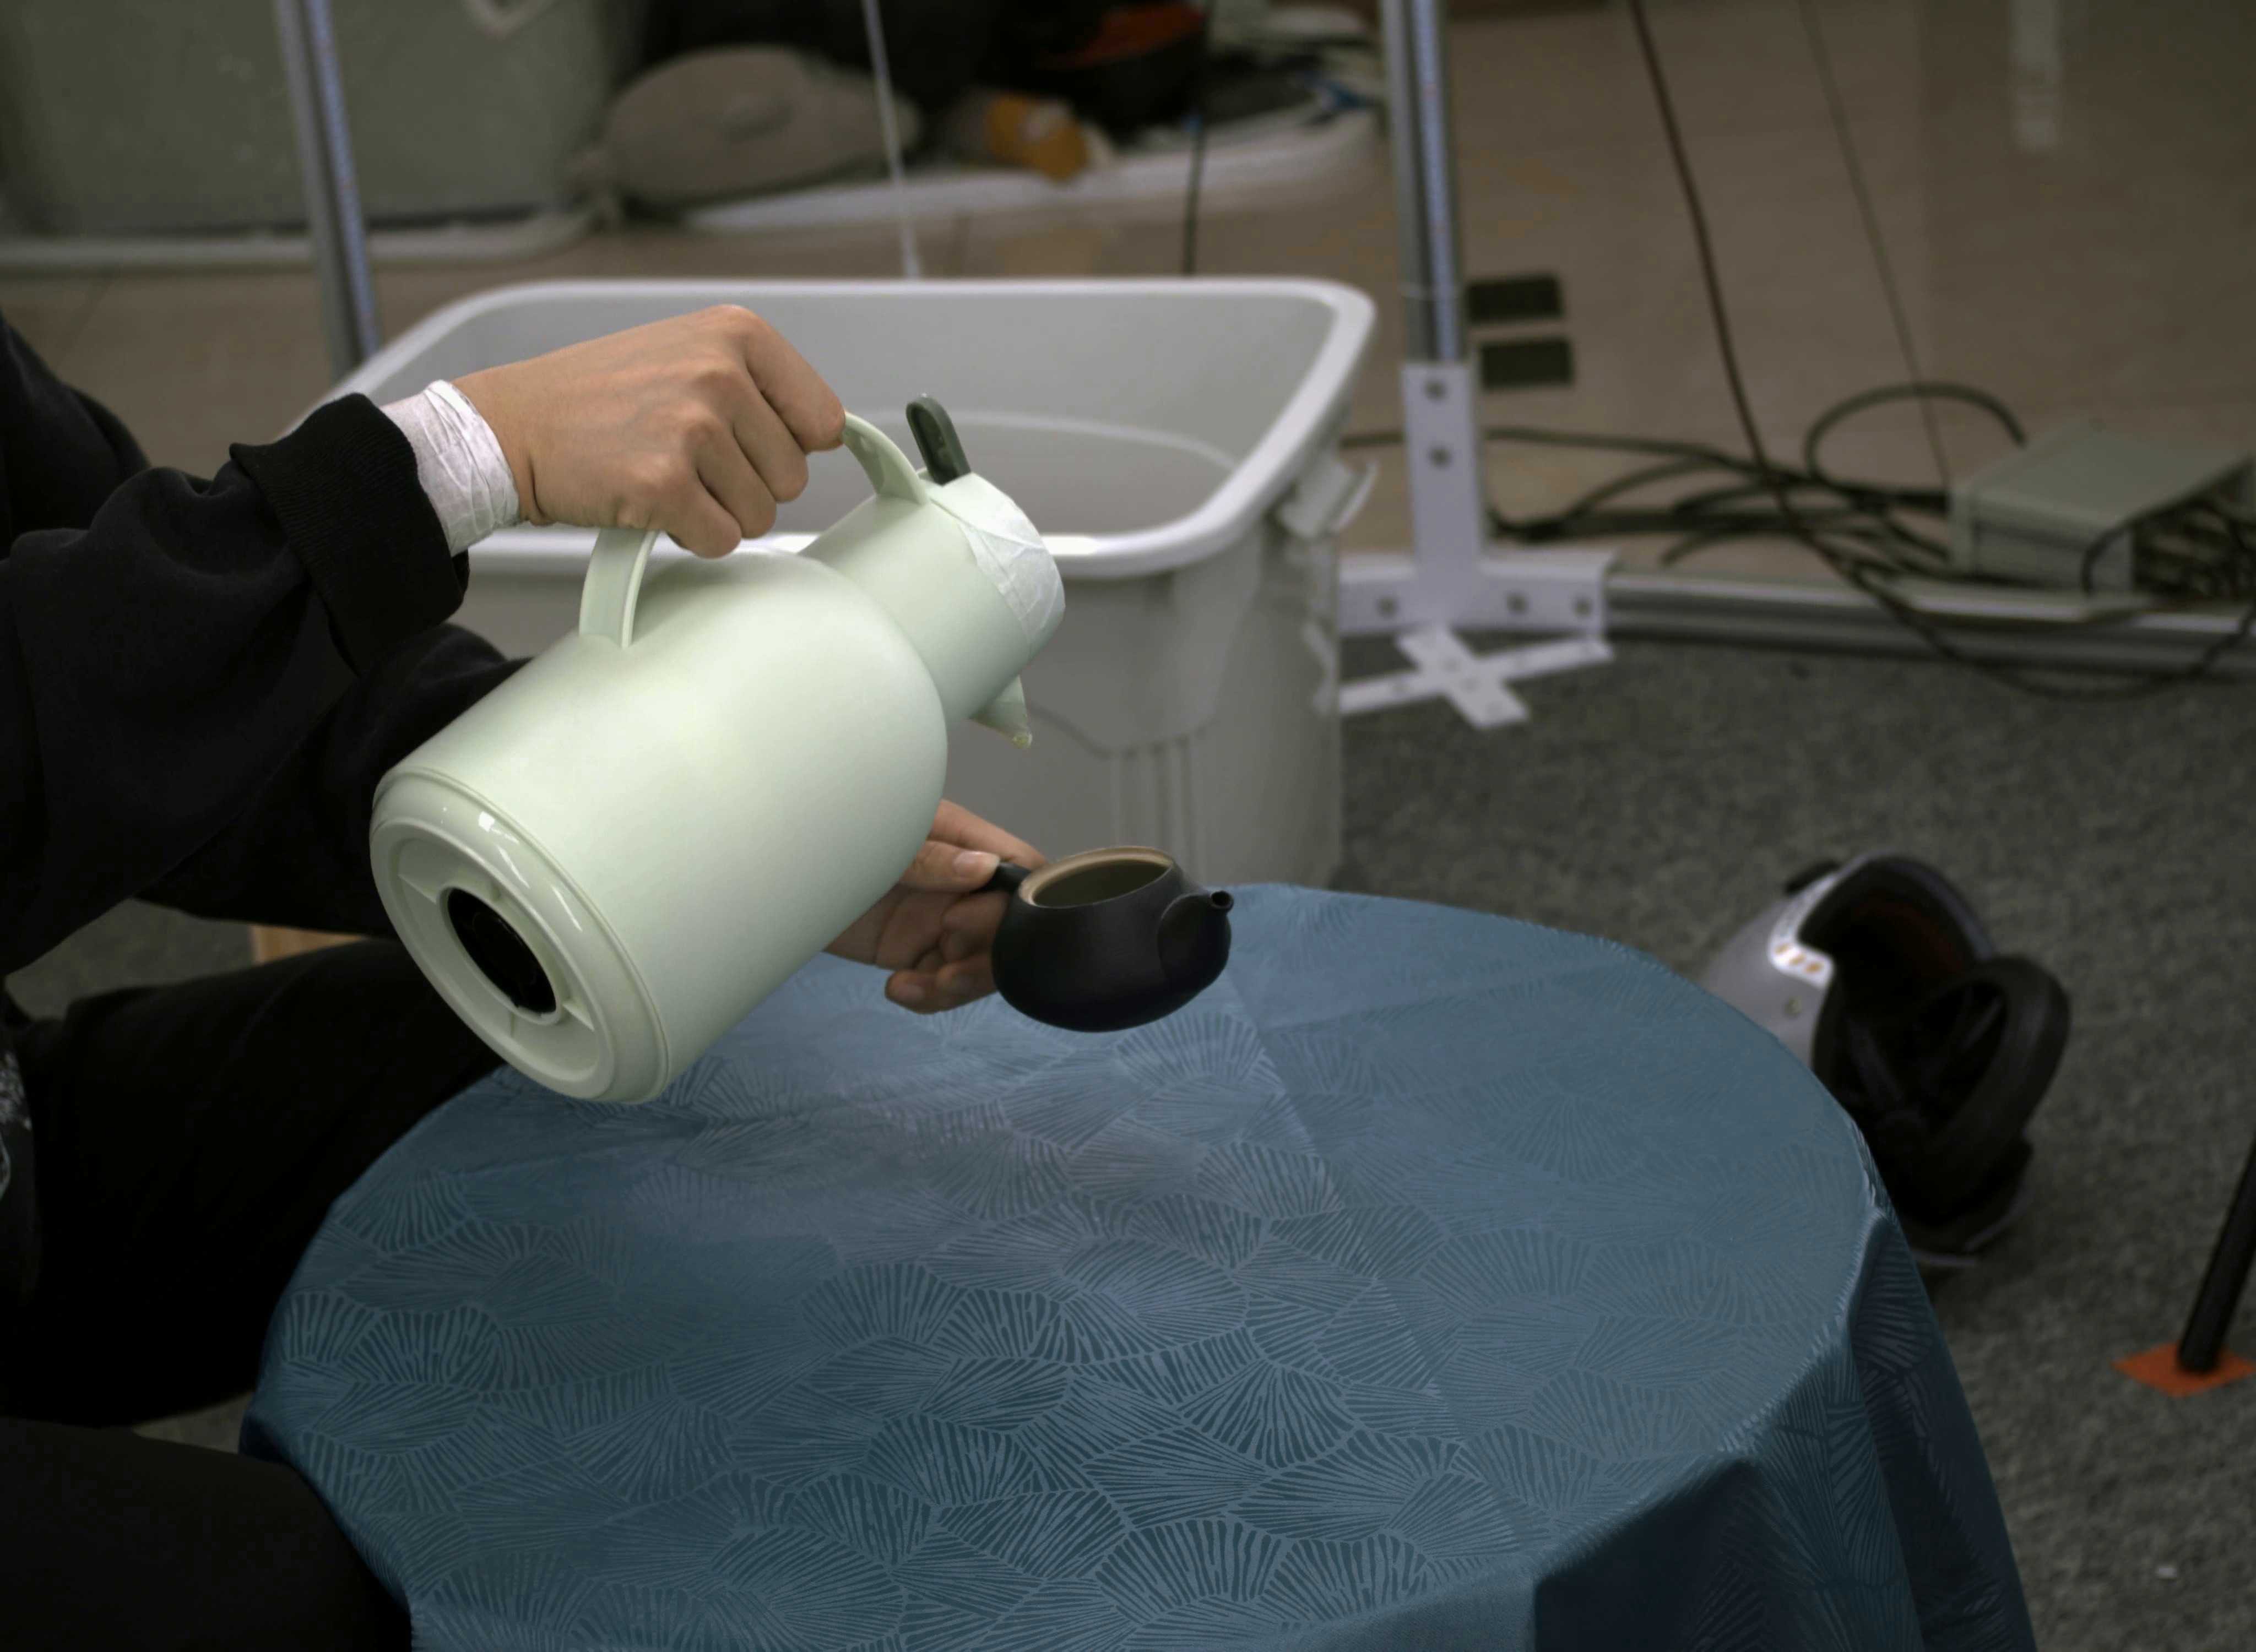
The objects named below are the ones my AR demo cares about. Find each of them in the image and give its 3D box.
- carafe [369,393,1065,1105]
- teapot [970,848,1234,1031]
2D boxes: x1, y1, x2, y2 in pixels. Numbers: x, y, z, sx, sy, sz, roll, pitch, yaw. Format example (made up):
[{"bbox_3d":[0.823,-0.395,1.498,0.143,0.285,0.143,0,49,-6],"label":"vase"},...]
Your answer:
[{"bbox_3d":[-0.139,-0.040,1.980,0.254,0.190,0.143,-44,36,-23],"label":"carafe"},{"bbox_3d":[-0.008,0.042,2.116,0.132,0.054,0.090,8,27,42],"label":"teapot"}]
